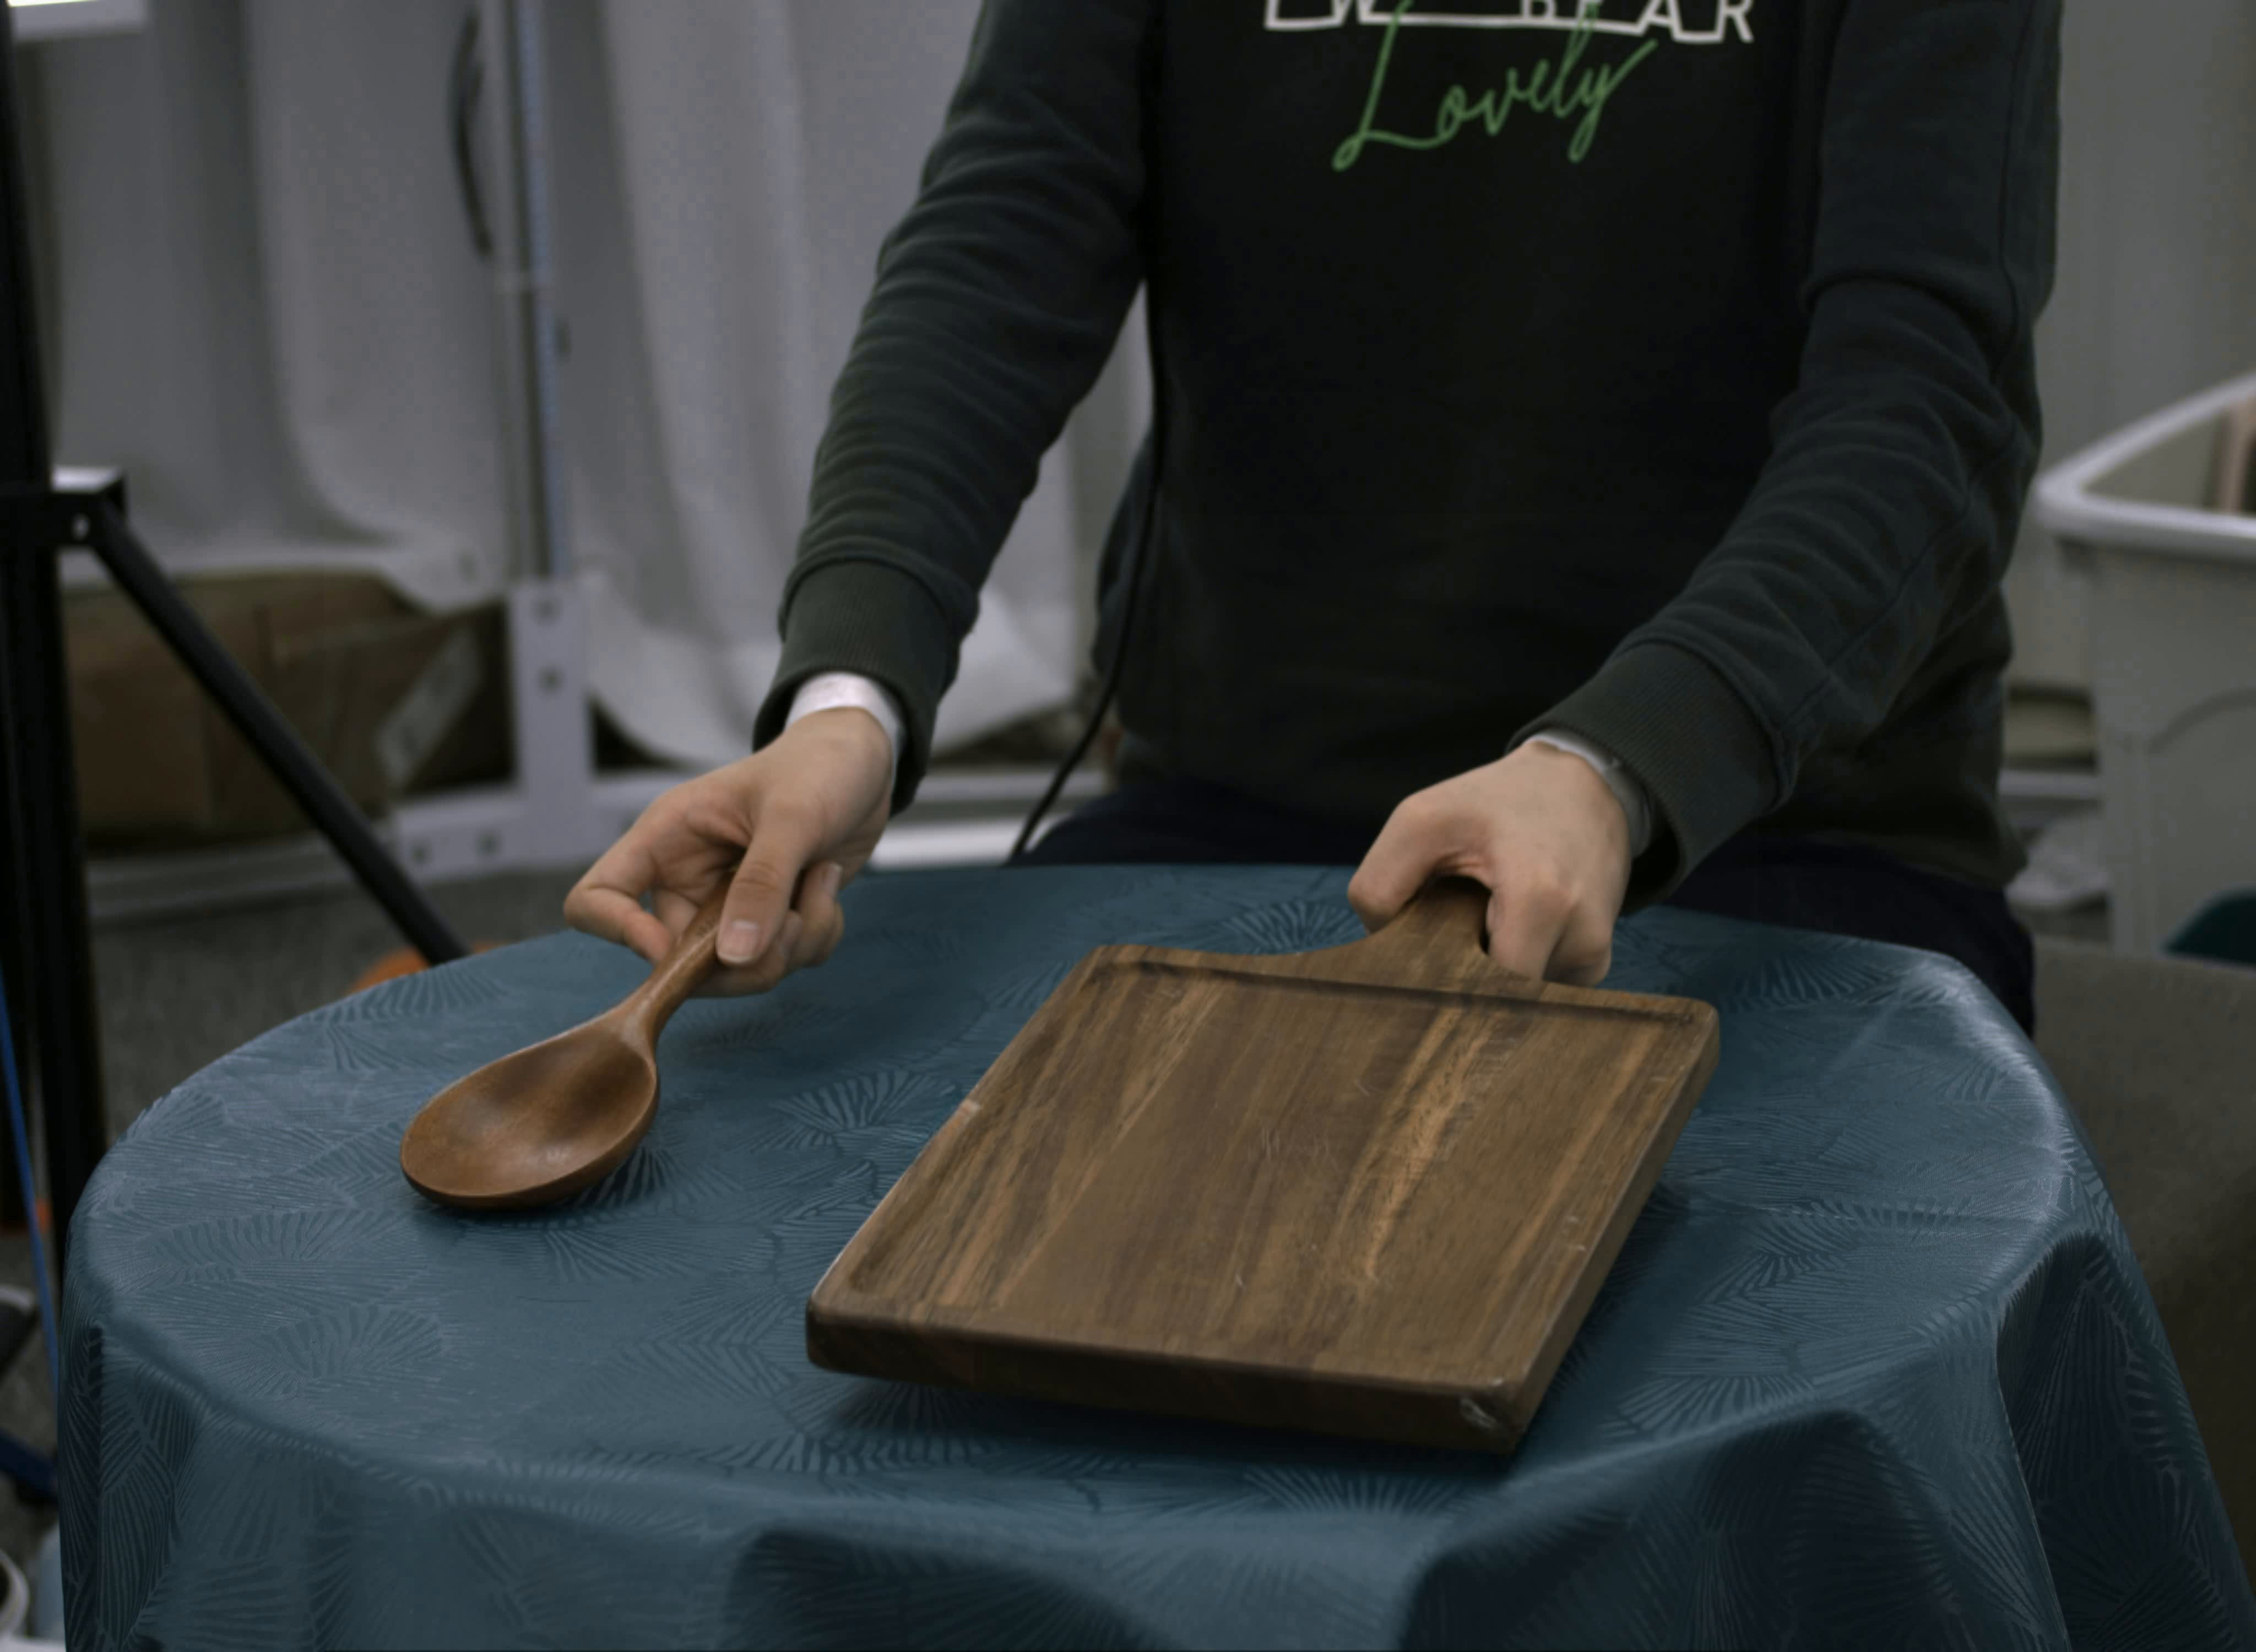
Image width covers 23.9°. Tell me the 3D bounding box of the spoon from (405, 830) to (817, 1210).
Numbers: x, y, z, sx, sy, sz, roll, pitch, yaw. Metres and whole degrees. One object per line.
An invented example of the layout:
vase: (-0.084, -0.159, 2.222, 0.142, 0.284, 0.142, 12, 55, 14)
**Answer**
spoon: (-0.150, 0.061, 1.645, 0.076, 0.017, 0.214, 2, 31, 27)

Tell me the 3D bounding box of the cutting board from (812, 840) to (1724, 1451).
cutting board: (0.060, 0.079, 1.507, 0.203, 0.023, 0.349, 4, 23, 19)
